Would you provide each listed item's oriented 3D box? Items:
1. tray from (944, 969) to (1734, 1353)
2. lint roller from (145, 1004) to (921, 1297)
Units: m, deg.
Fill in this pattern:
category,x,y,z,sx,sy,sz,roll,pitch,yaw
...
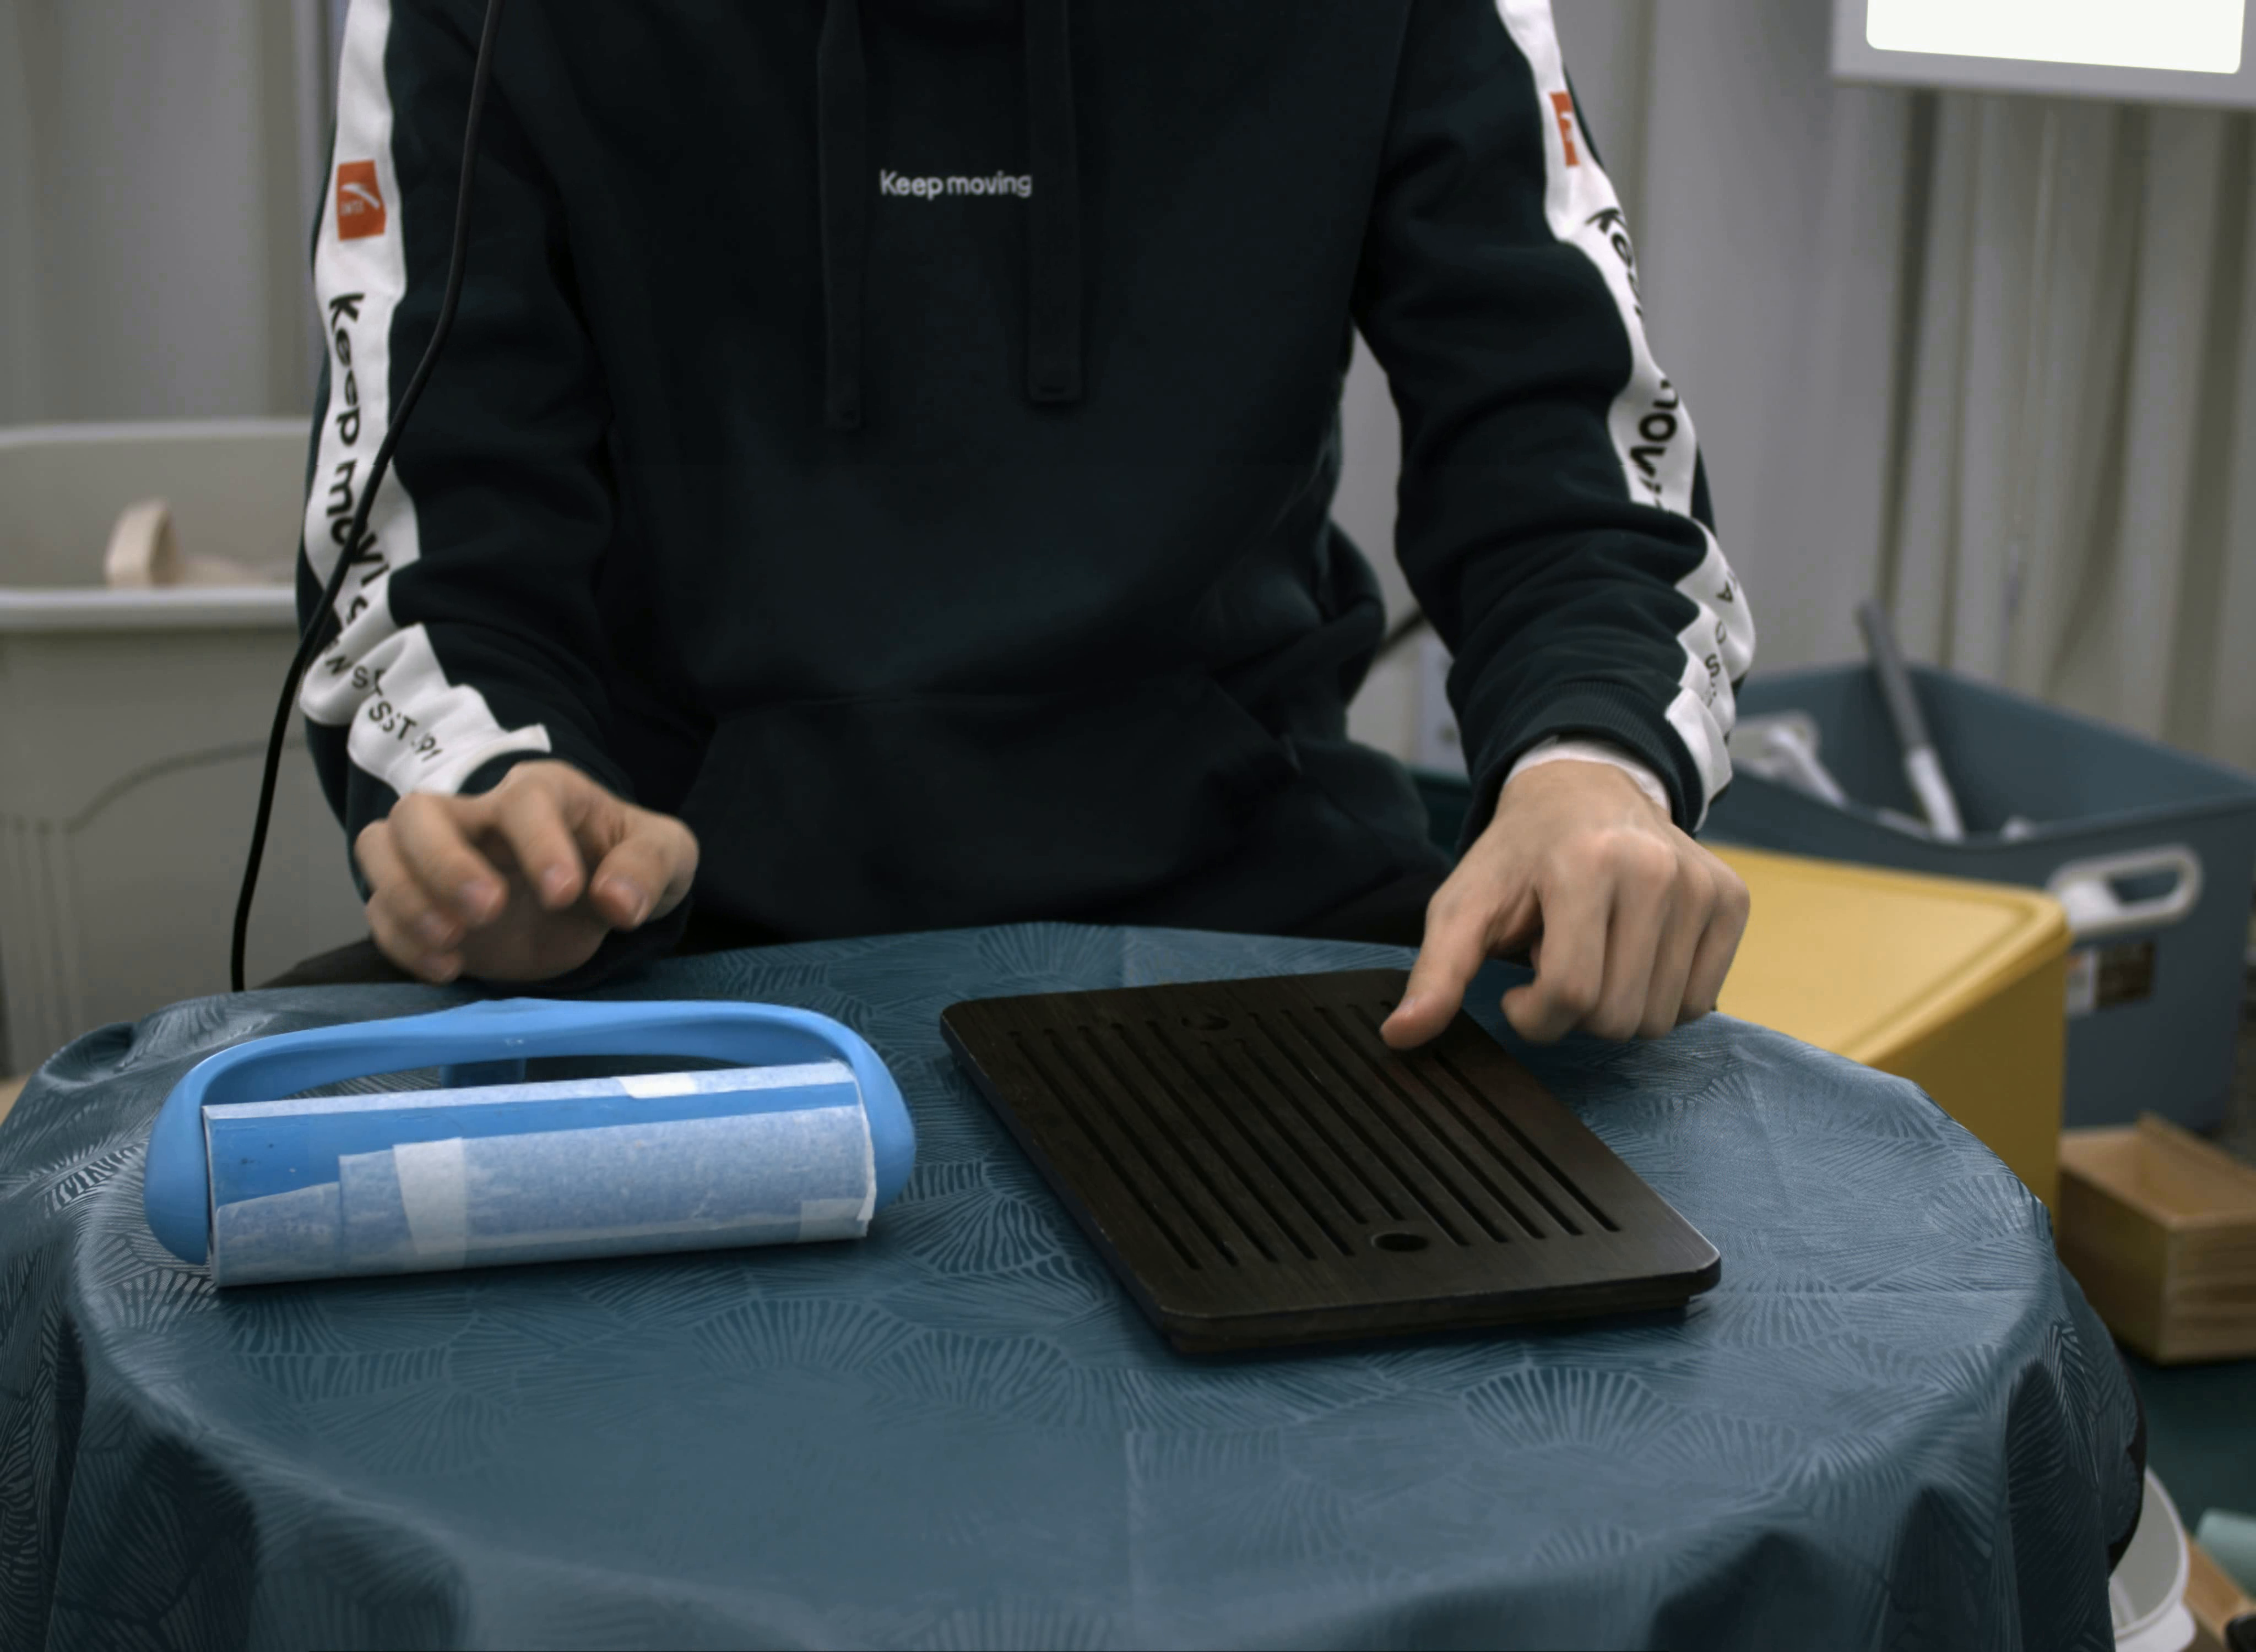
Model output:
category,x,y,z,sx,sy,sz,roll,pitch,yaw
tray,0.057,0.100,1.631,0.170,0.019,0.303,-4,16,-15
lint roller,-0.190,0.085,1.604,0.229,0.068,0.178,-6,19,-15
